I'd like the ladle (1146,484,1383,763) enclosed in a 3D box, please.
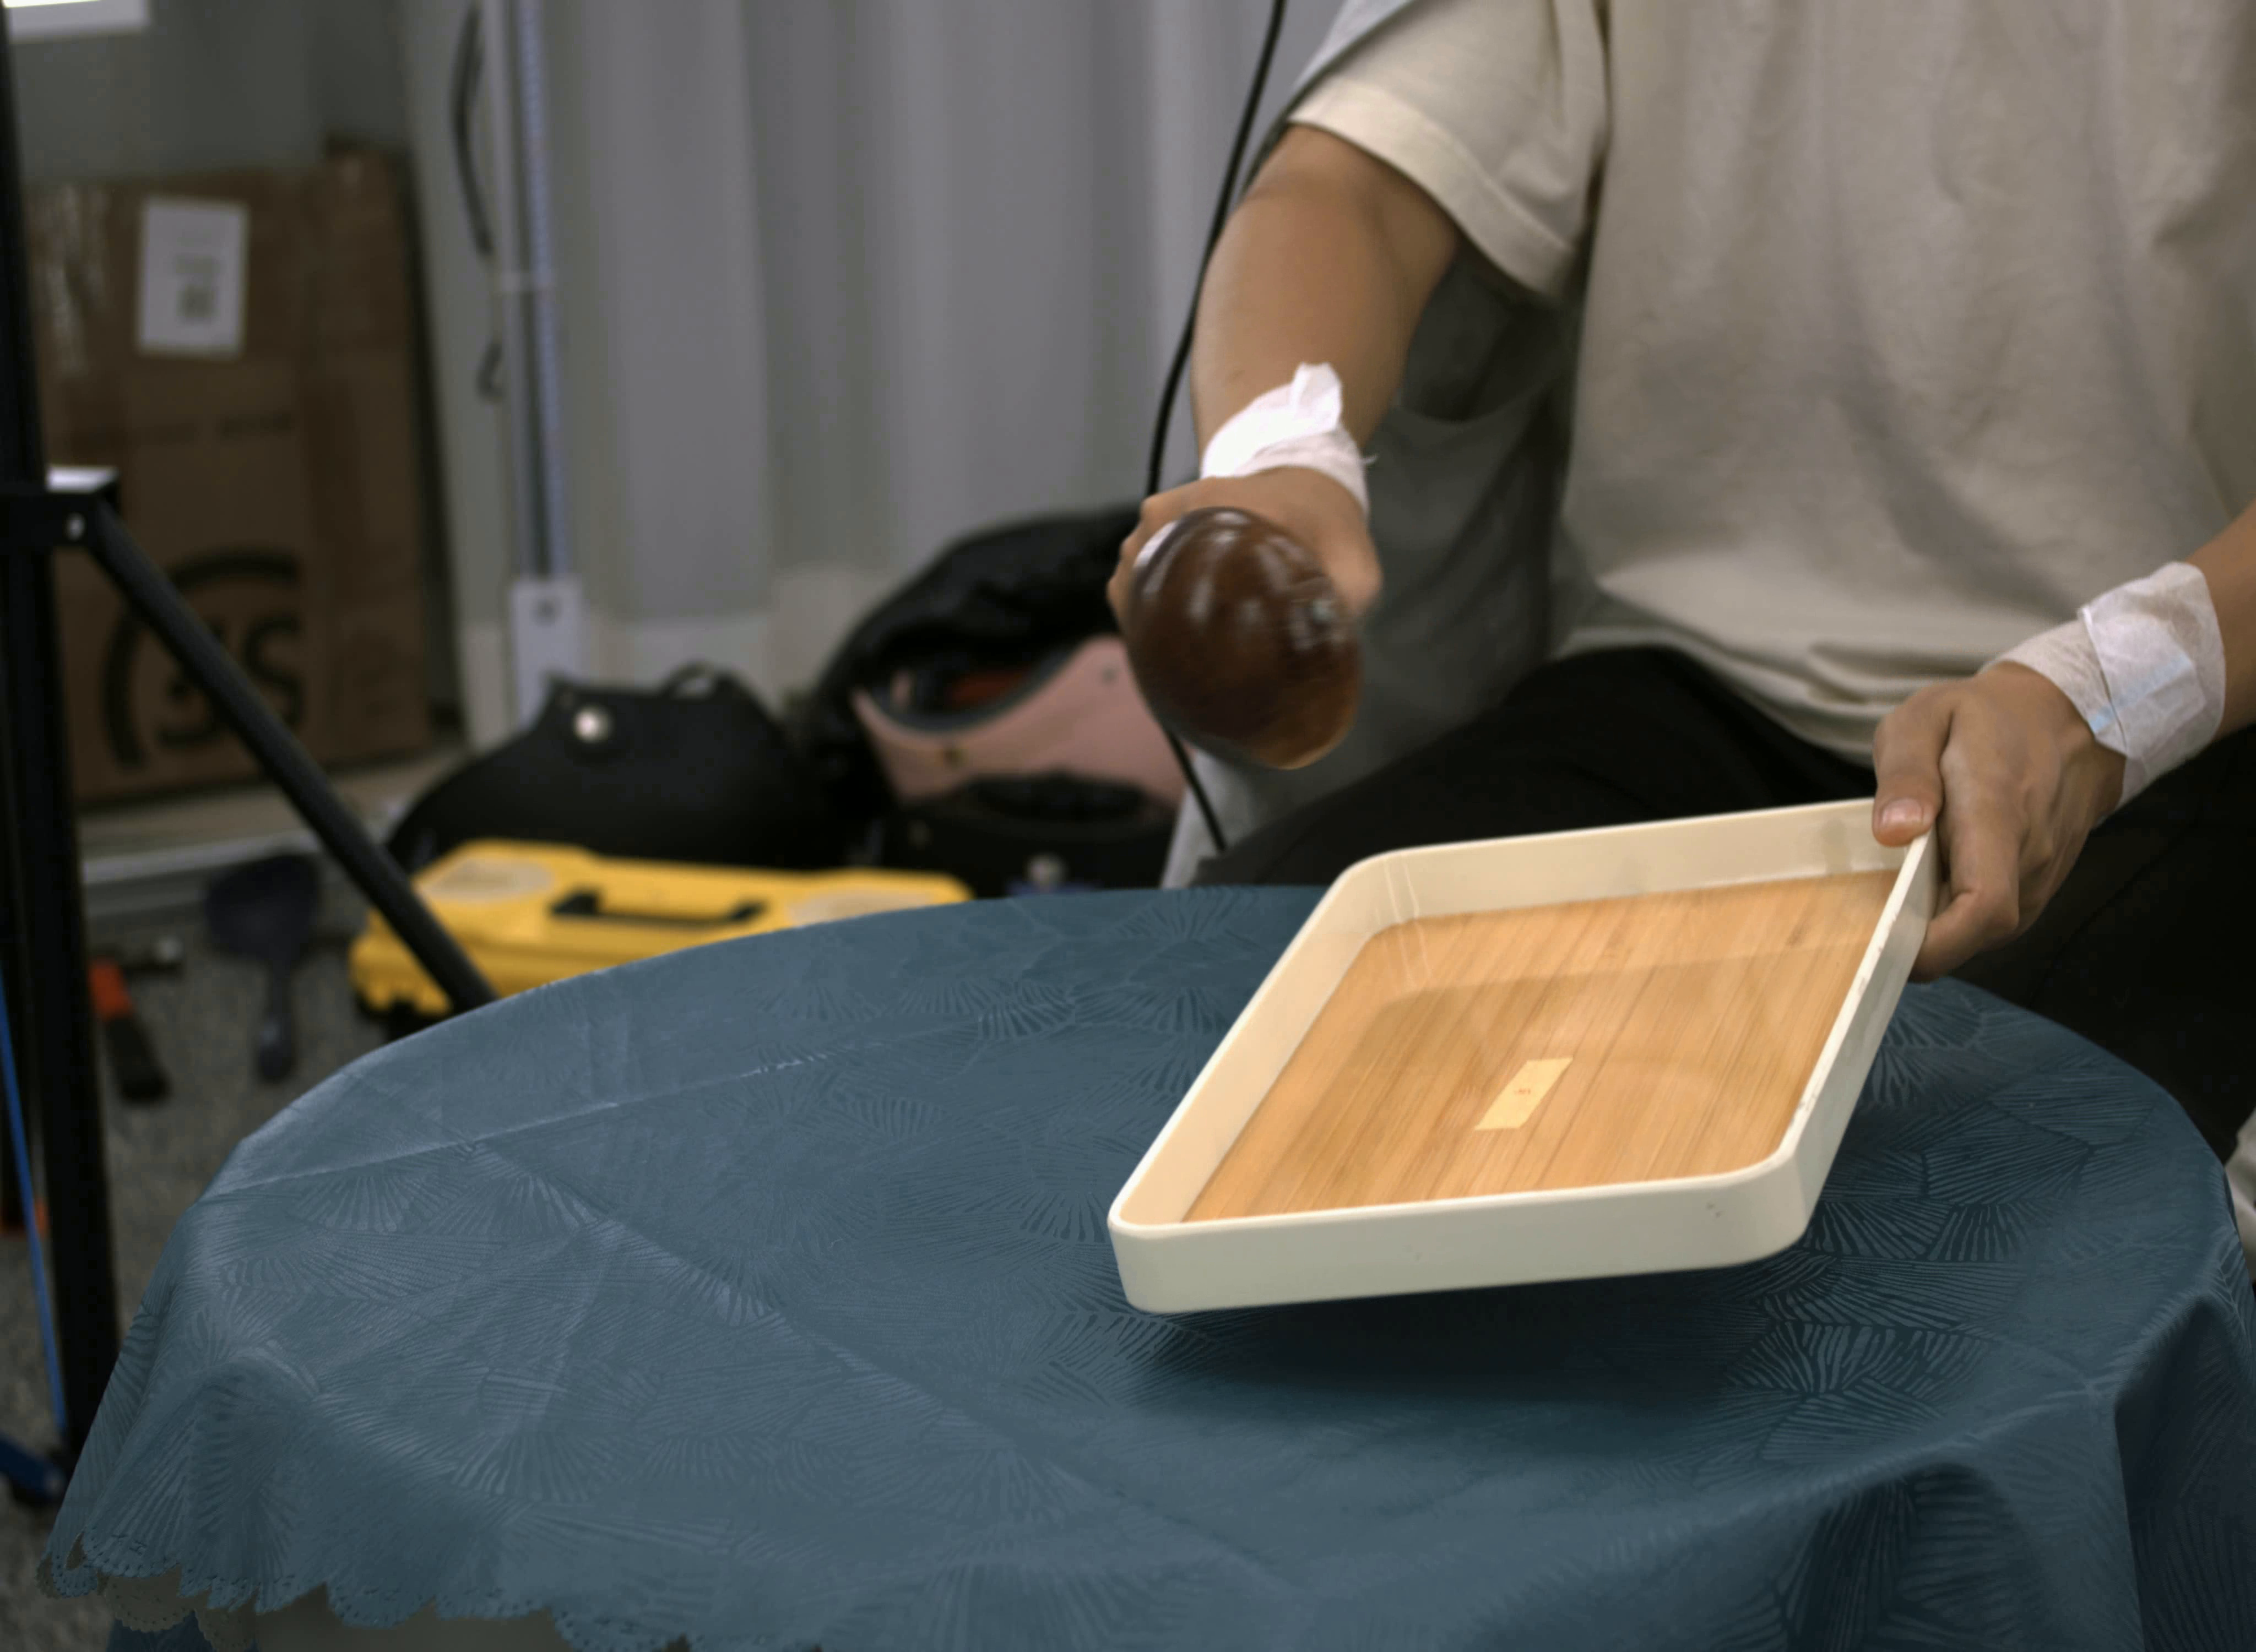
[{"bbox_3d":[0.053,-0.067,1.635,0.077,0.082,0.272,-19,2,10],"label":"ladle"}]

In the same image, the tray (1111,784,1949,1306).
[{"bbox_3d":[0.122,0.059,1.508,0.193,0.027,0.298,-7,17,20],"label":"tray"}]
